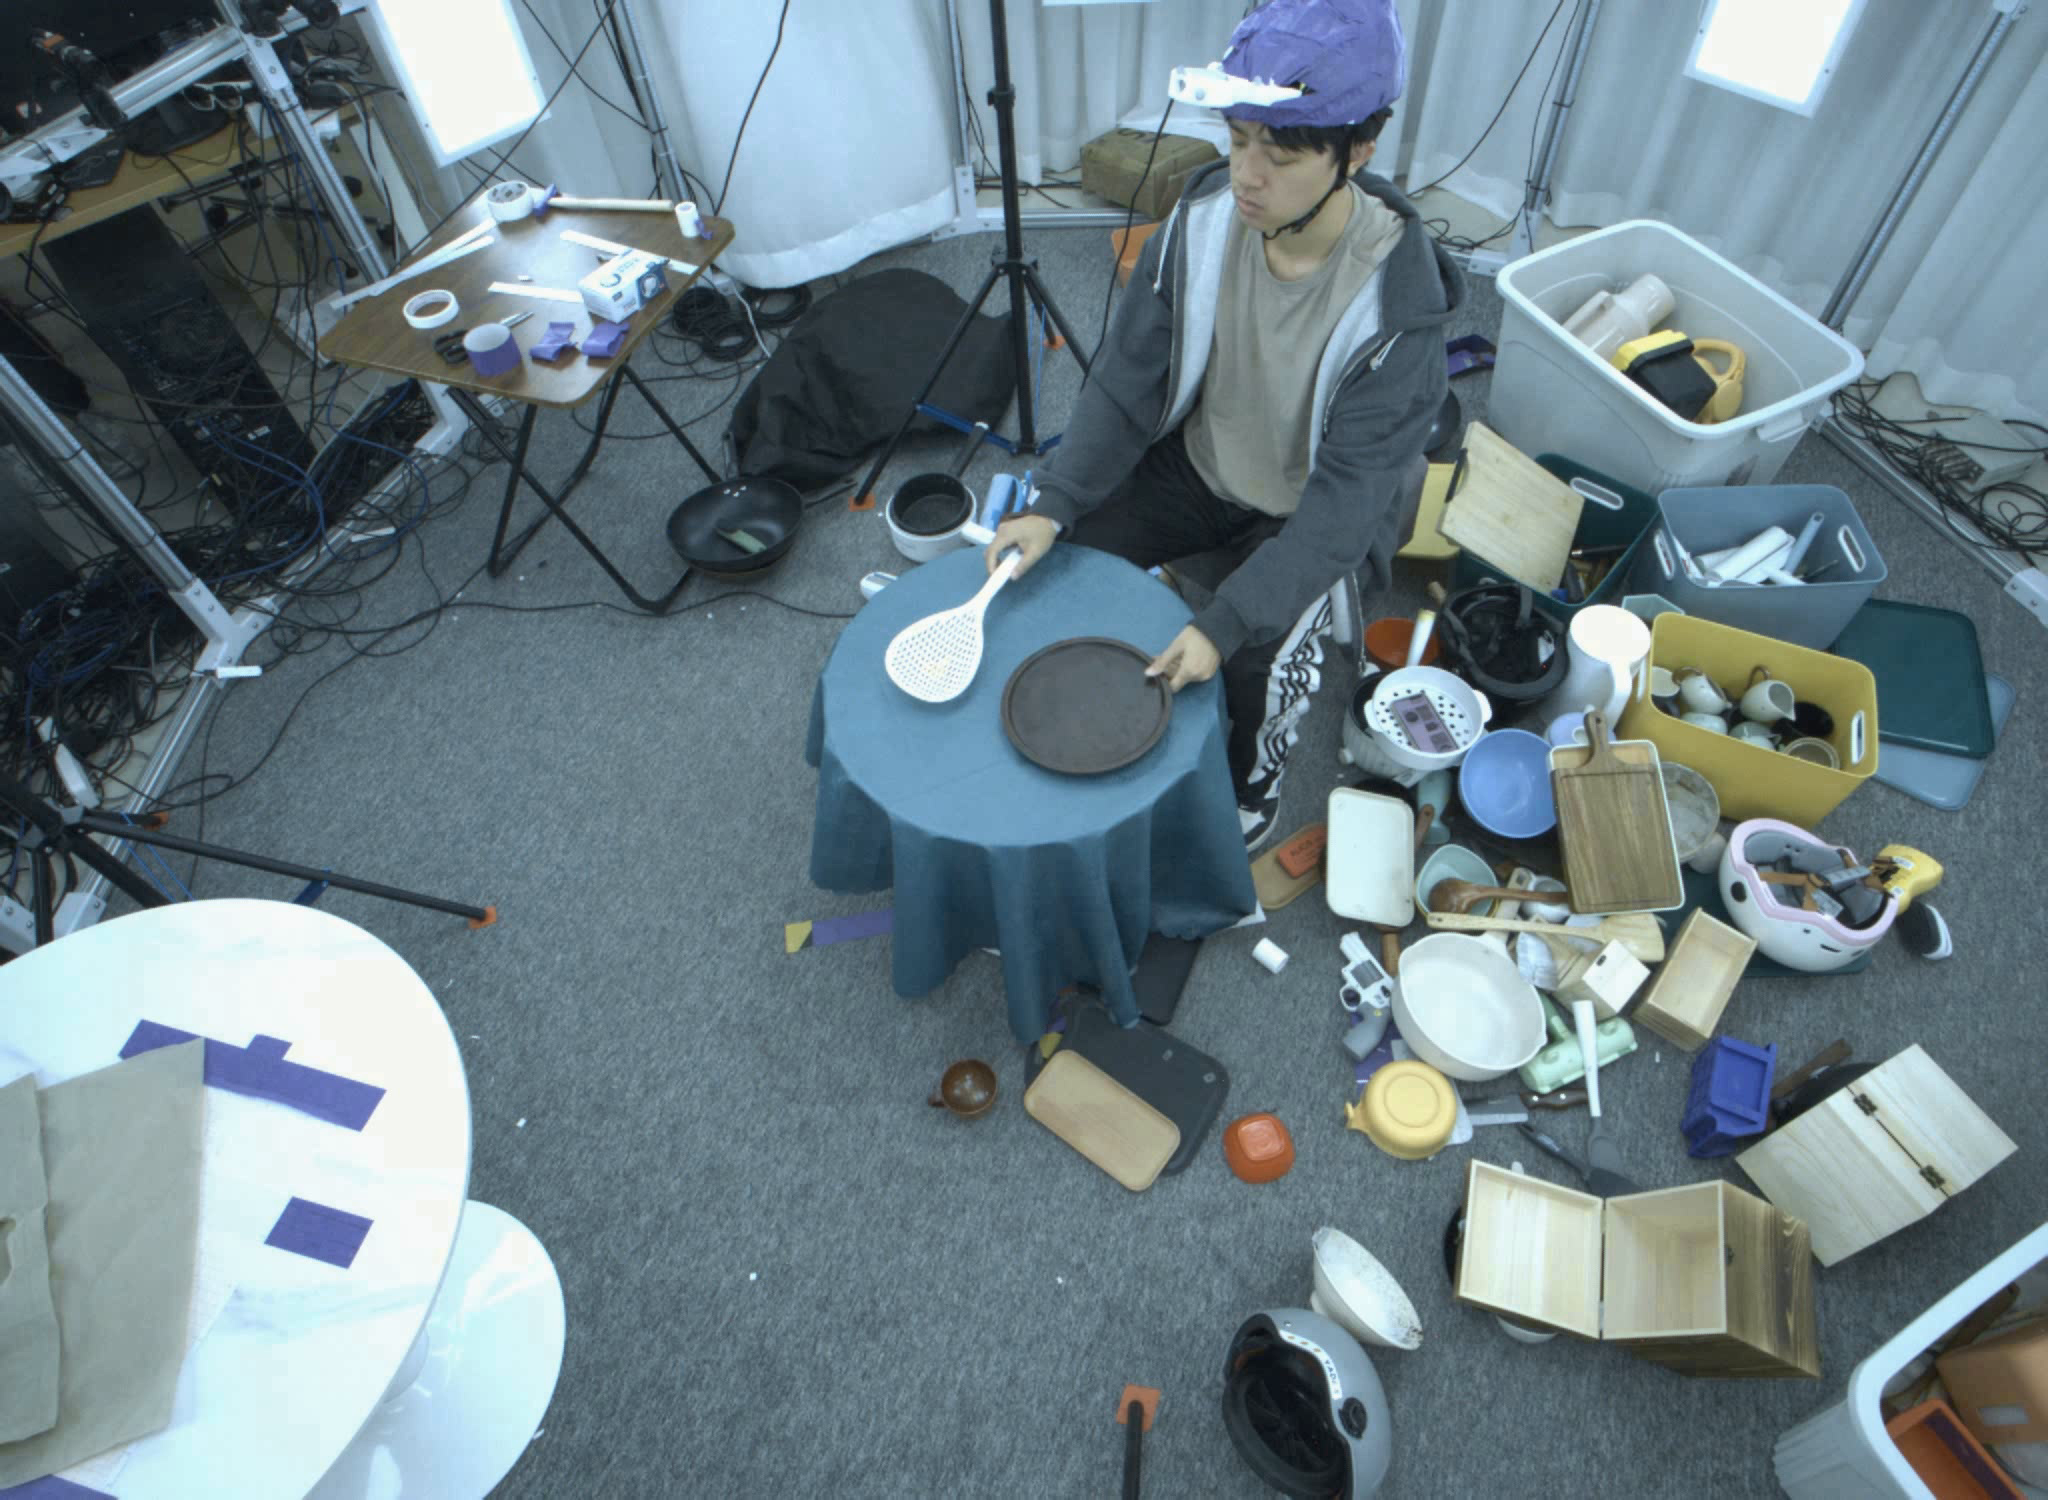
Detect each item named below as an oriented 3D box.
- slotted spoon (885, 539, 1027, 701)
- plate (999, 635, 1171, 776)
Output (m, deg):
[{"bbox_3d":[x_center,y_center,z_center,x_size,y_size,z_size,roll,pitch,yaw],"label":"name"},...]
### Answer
[{"bbox_3d":[-0.083,-0.212,1.900,0.136,0.050,0.348,30,68,9],"label":"slotted spoon"},{"bbox_3d":[0.090,-0.067,1.814,0.254,0.029,0.252,-2,55,5],"label":"plate"}]
